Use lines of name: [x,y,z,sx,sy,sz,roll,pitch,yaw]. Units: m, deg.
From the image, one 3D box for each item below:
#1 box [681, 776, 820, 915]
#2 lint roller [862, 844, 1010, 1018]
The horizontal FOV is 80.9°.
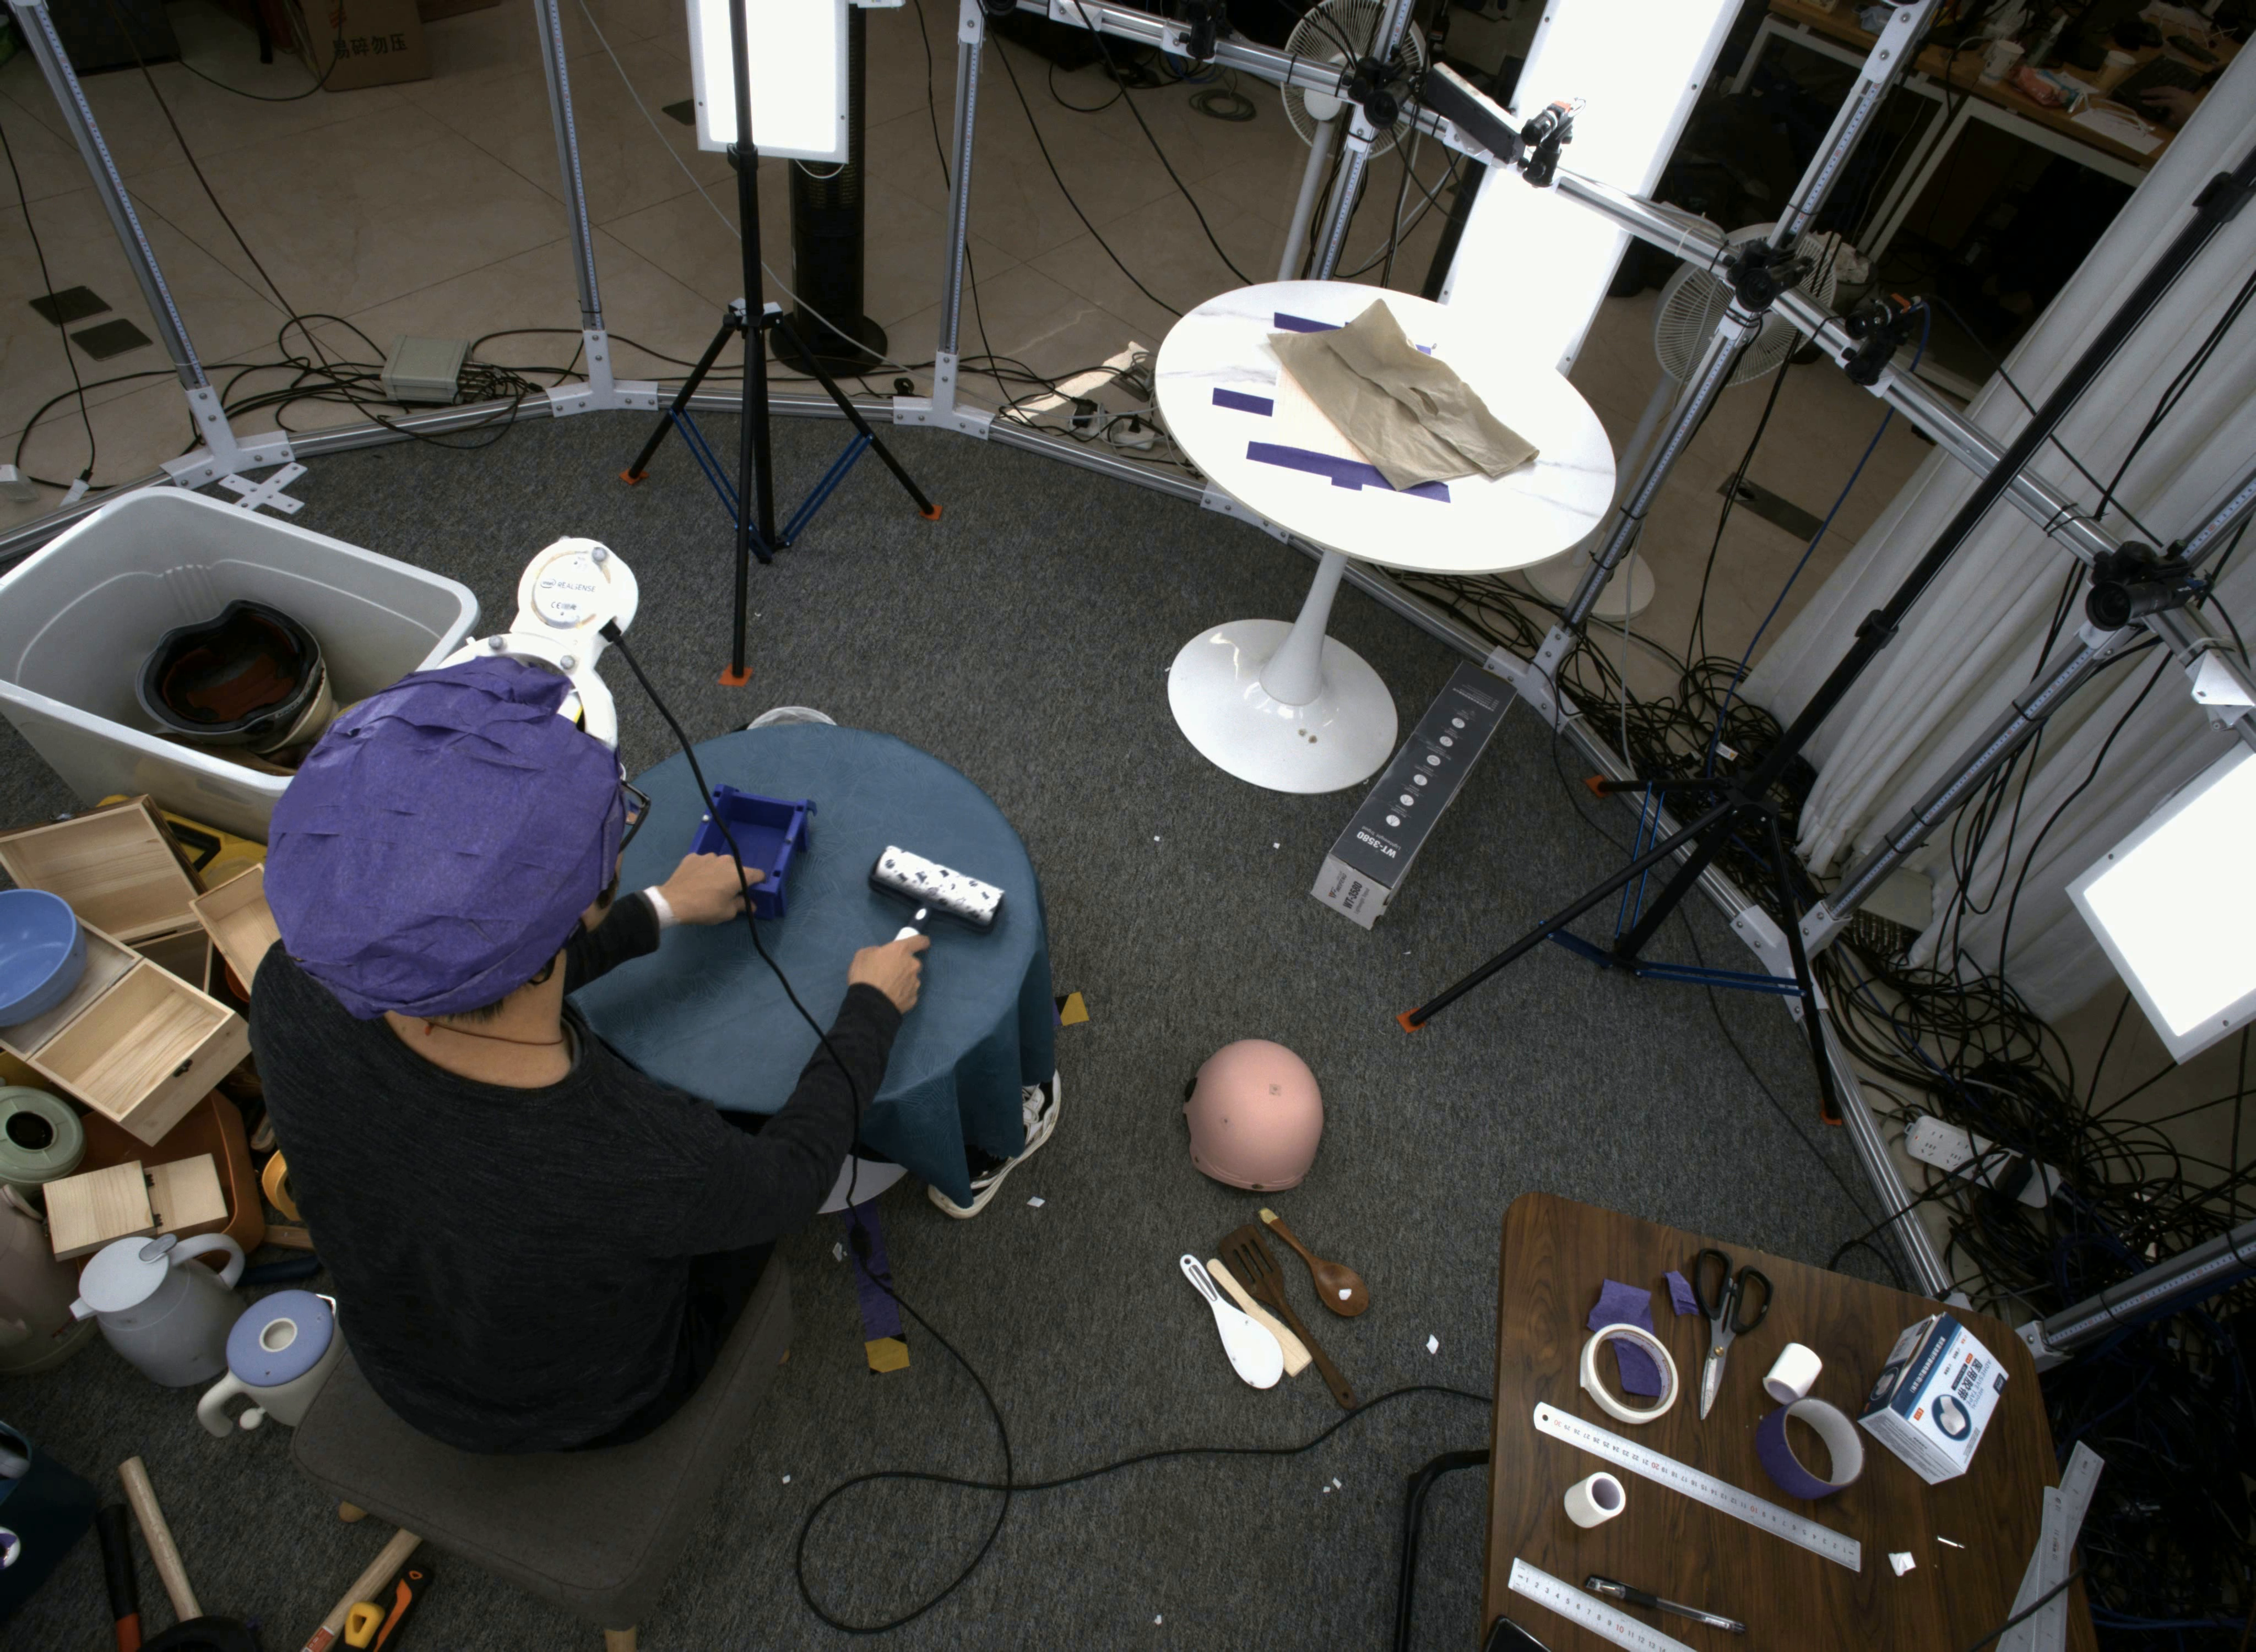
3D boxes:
box: [-0.476,0.017,1.638,0.123,0.083,0.177,11,54,-3]
lint roller: [-0.266,0.135,1.610,0.175,0.051,0.244,22,43,1]
